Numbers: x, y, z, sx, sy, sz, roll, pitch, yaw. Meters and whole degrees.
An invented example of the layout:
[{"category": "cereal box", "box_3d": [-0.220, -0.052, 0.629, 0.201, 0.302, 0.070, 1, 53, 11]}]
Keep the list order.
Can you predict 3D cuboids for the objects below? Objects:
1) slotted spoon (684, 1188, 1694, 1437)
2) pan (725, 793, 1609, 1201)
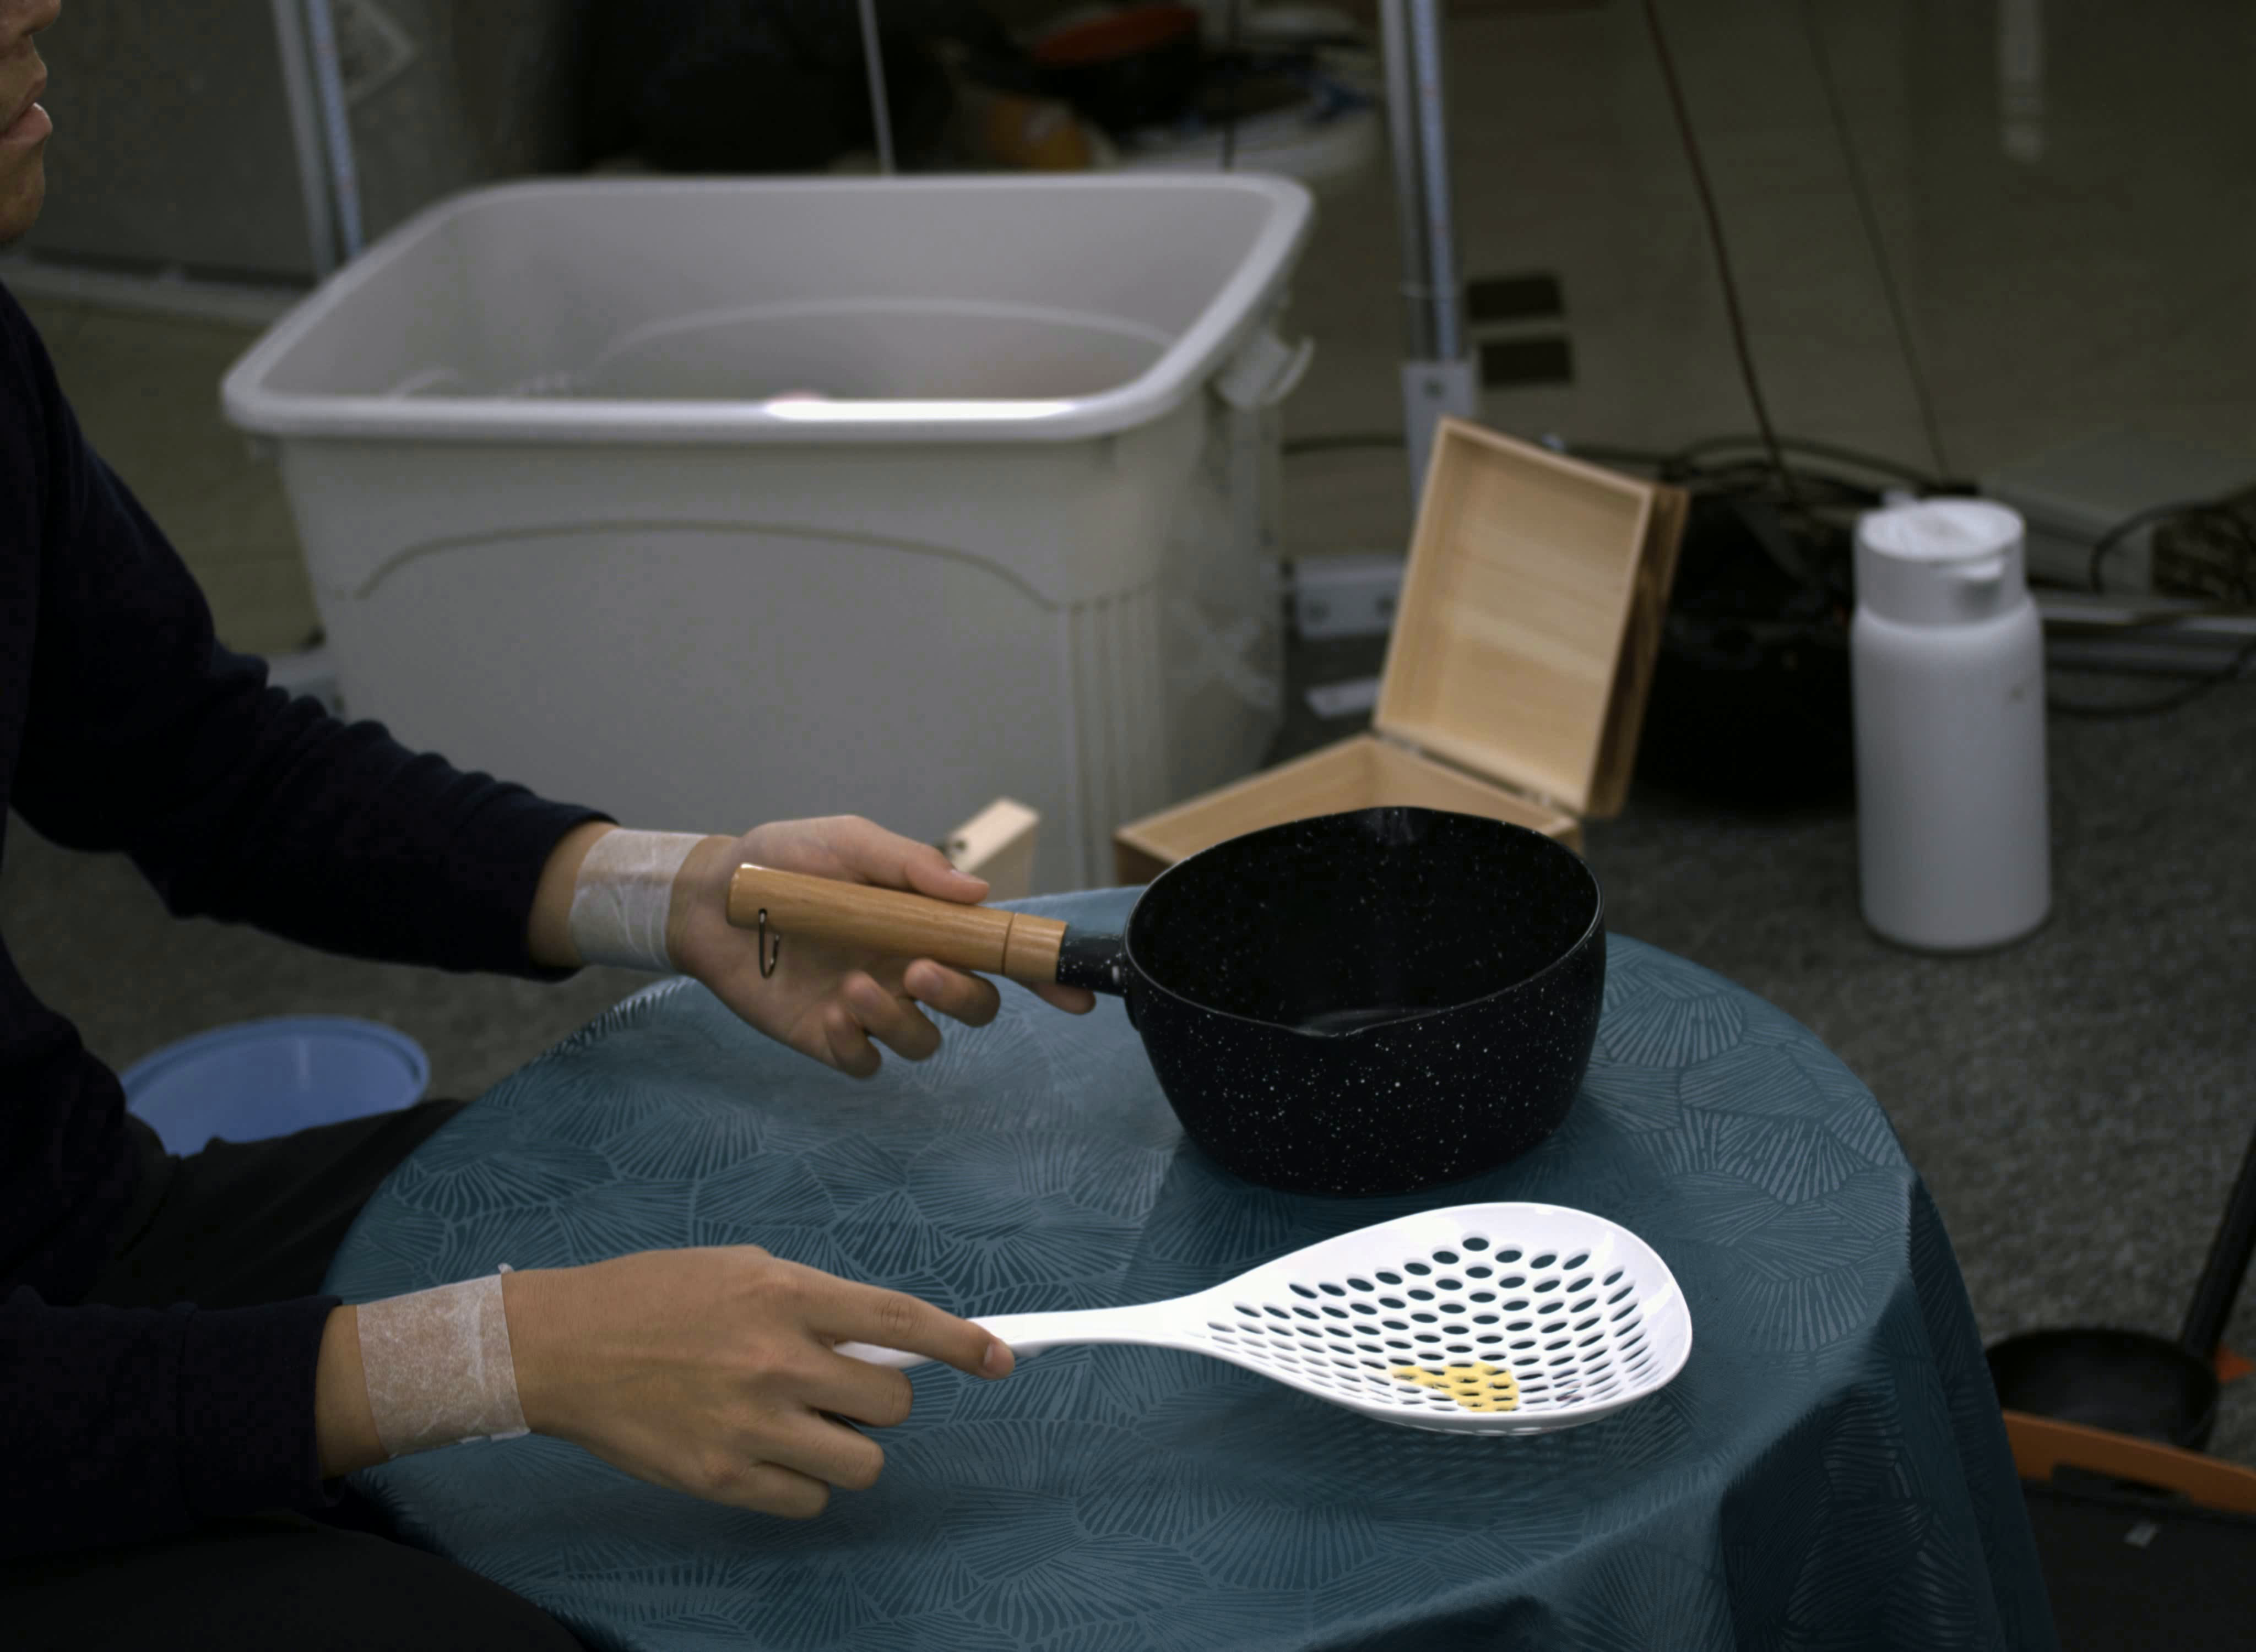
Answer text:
[{"category": "slotted spoon", "box_3d": [0.021, 0.180, 1.960, 0.347, 0.051, 0.134, 1, 30, -9]}, {"category": "pan", "box_3d": [0.014, 0.062, 2.178, 0.342, 0.110, 0.204, -1, 27, 10]}]
